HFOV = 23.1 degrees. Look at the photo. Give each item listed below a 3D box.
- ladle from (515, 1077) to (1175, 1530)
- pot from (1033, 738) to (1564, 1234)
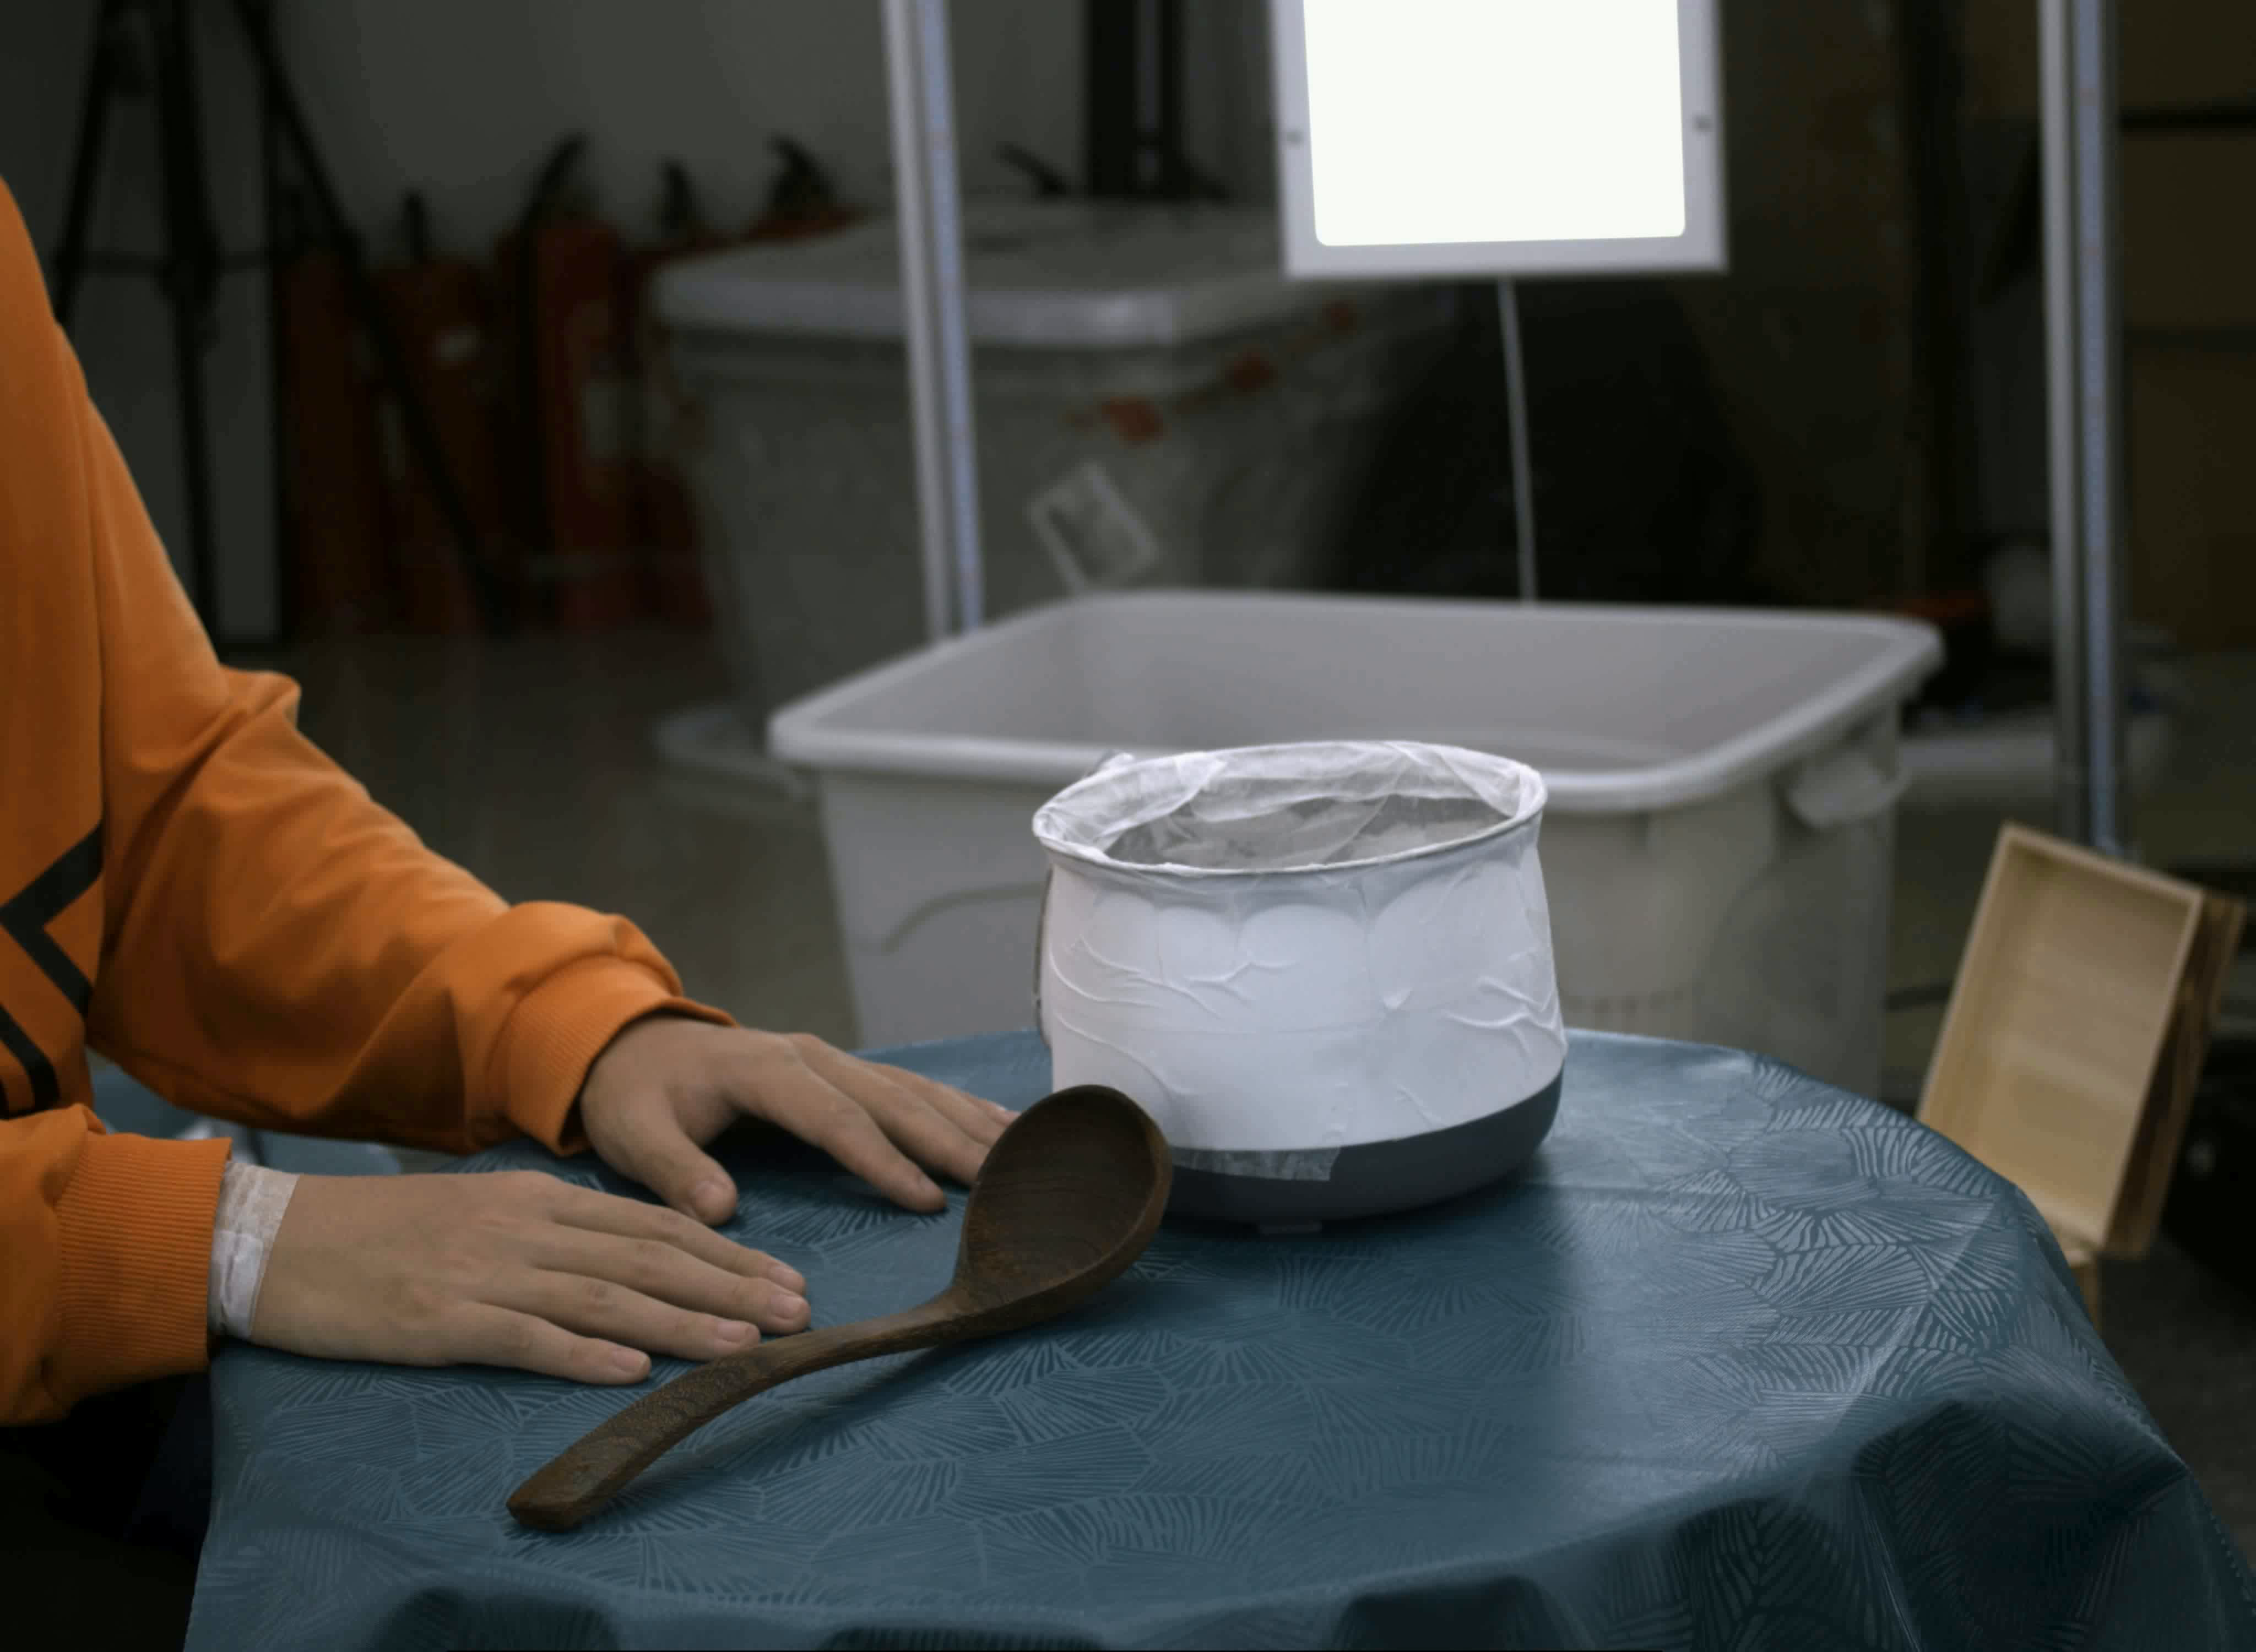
[{"bbox_3d":[-0.088,0.144,1.714,0.078,0.071,0.267,4,16,43],"label":"ladle"},{"bbox_3d":[0.043,0.049,1.907,0.174,0.137,0.238,-14,17,-35],"label":"pot"}]
